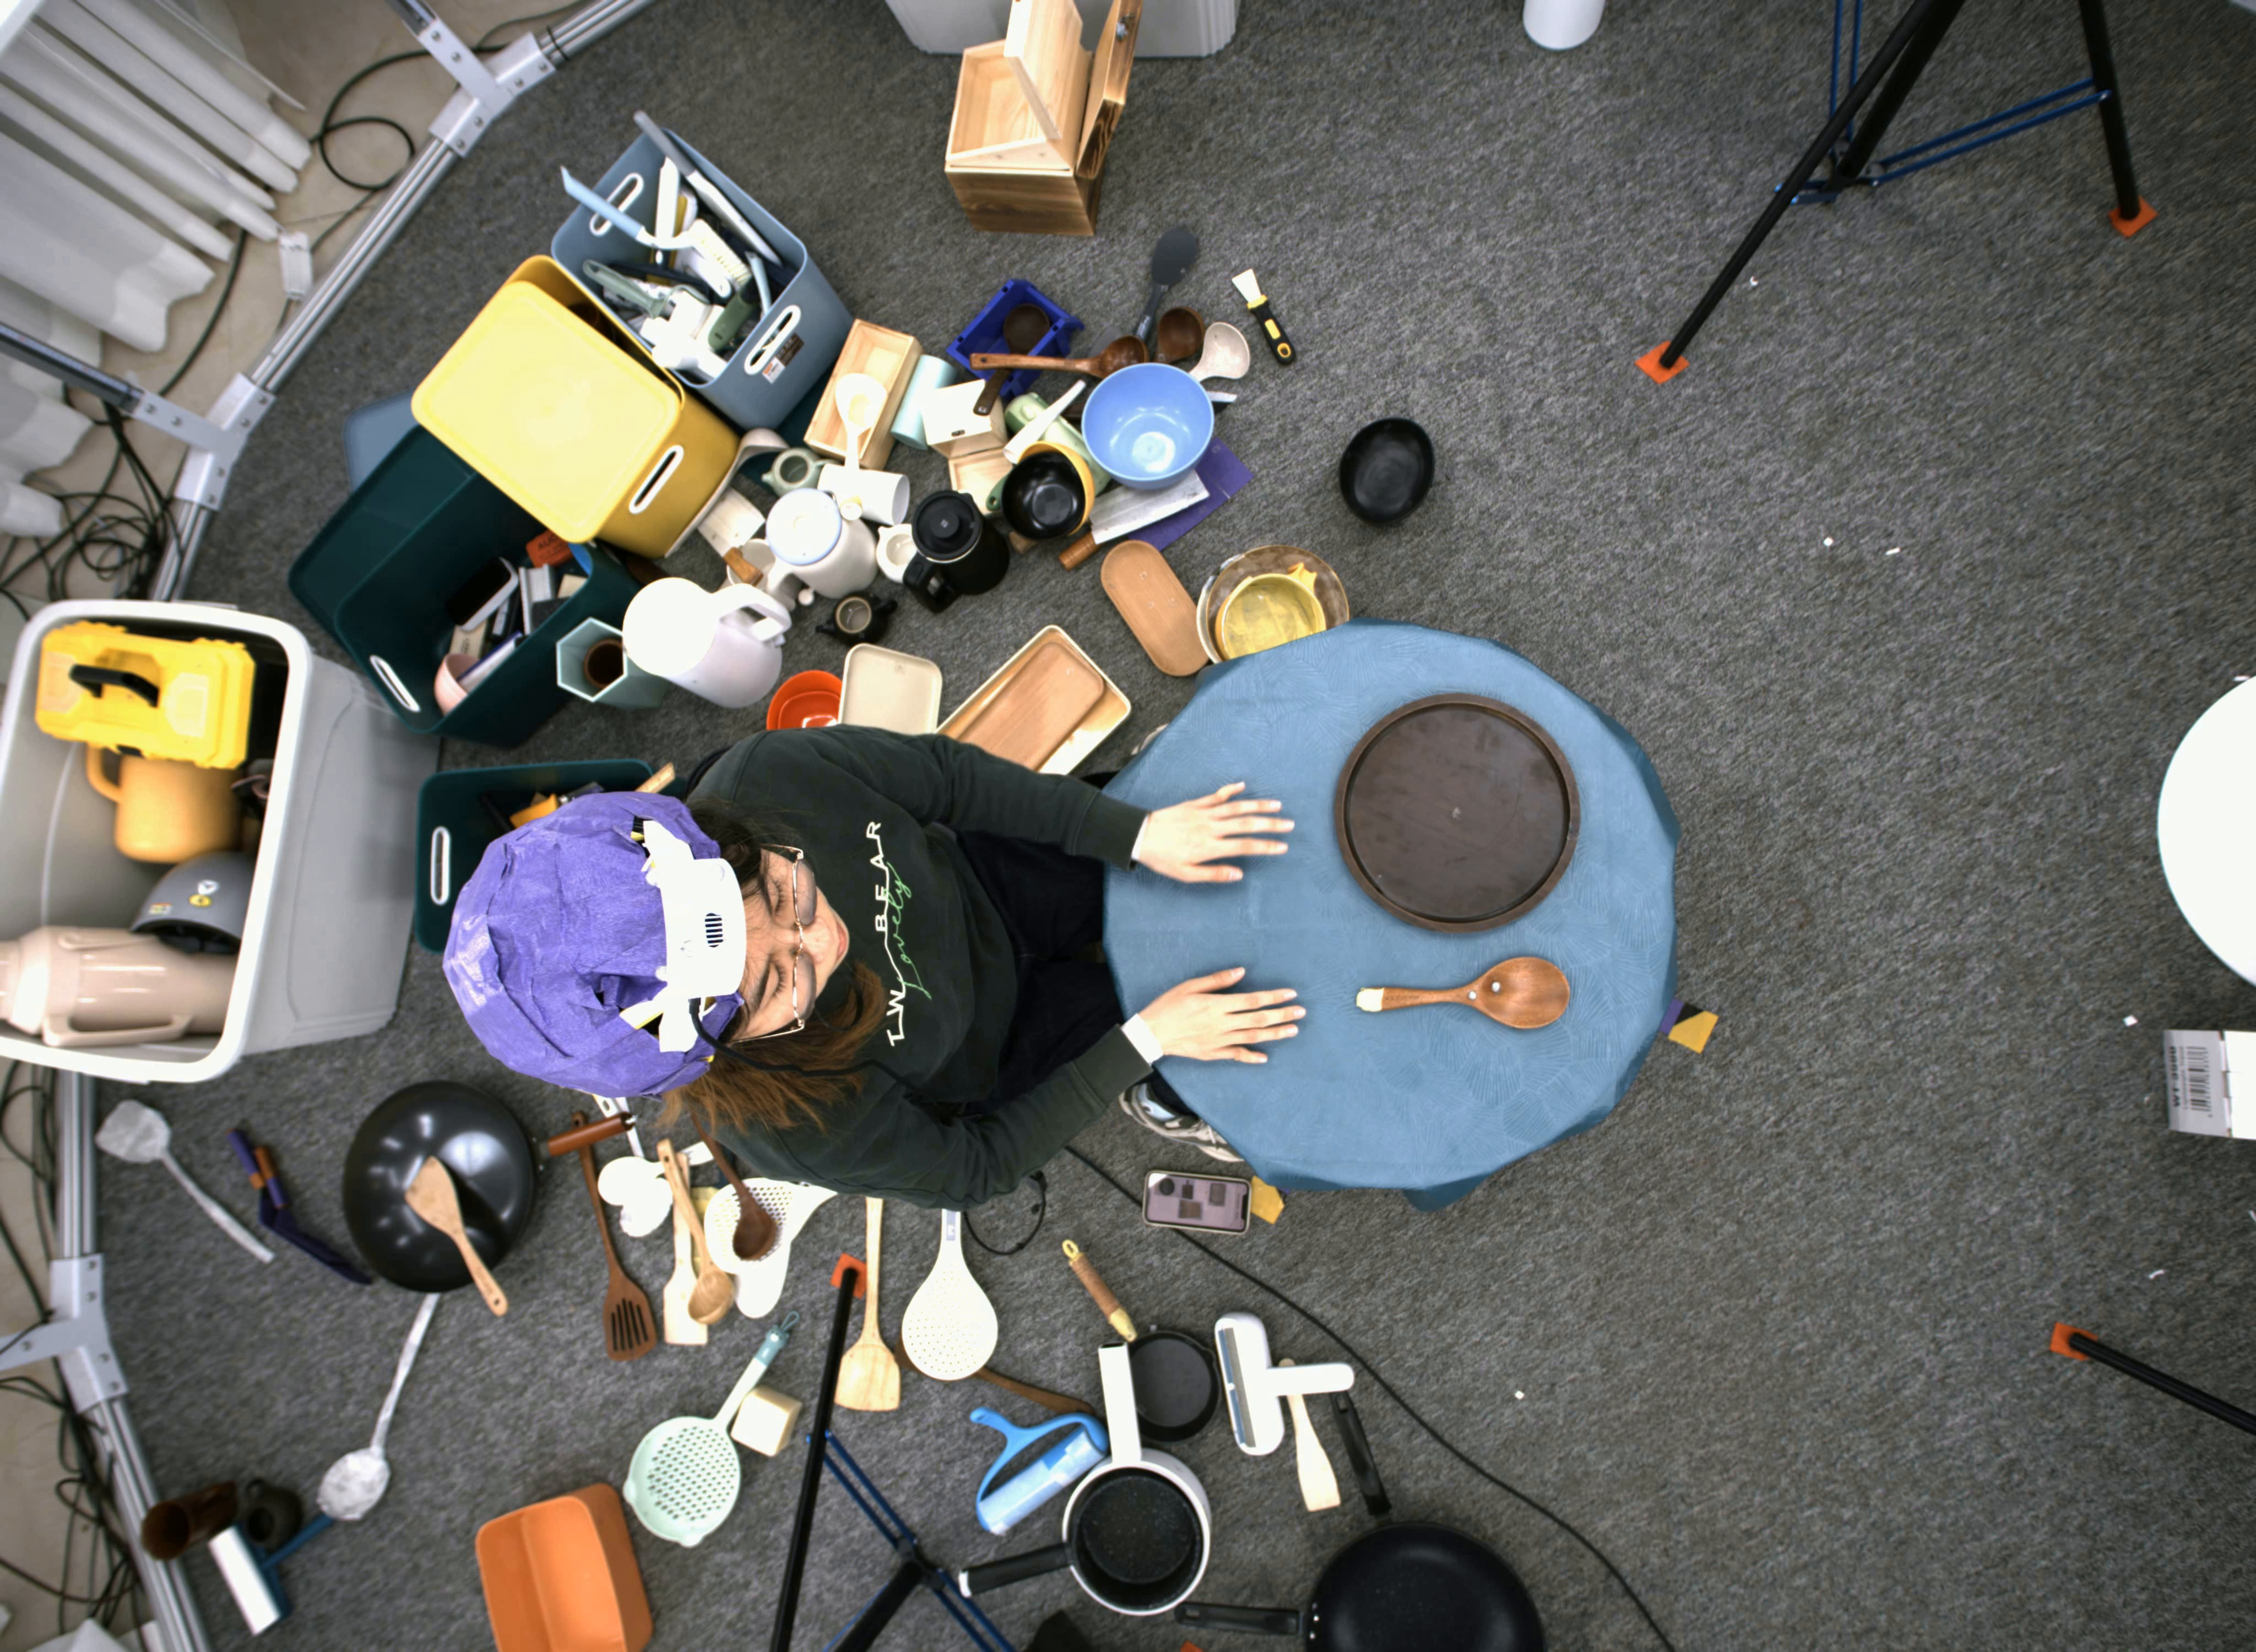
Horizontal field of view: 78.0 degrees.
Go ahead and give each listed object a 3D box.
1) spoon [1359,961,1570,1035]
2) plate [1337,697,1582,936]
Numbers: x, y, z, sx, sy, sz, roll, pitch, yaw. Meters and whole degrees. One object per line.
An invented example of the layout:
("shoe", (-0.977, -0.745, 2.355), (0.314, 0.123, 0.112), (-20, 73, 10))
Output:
("spoon", (0.349, 0.180, 1.435), (0.217, 0.017, 0.075), (-4, 85, 10))
("plate", (0.346, -0.012, 1.445), (0.256, 0.029, 0.253), (-1, 85, 9))
